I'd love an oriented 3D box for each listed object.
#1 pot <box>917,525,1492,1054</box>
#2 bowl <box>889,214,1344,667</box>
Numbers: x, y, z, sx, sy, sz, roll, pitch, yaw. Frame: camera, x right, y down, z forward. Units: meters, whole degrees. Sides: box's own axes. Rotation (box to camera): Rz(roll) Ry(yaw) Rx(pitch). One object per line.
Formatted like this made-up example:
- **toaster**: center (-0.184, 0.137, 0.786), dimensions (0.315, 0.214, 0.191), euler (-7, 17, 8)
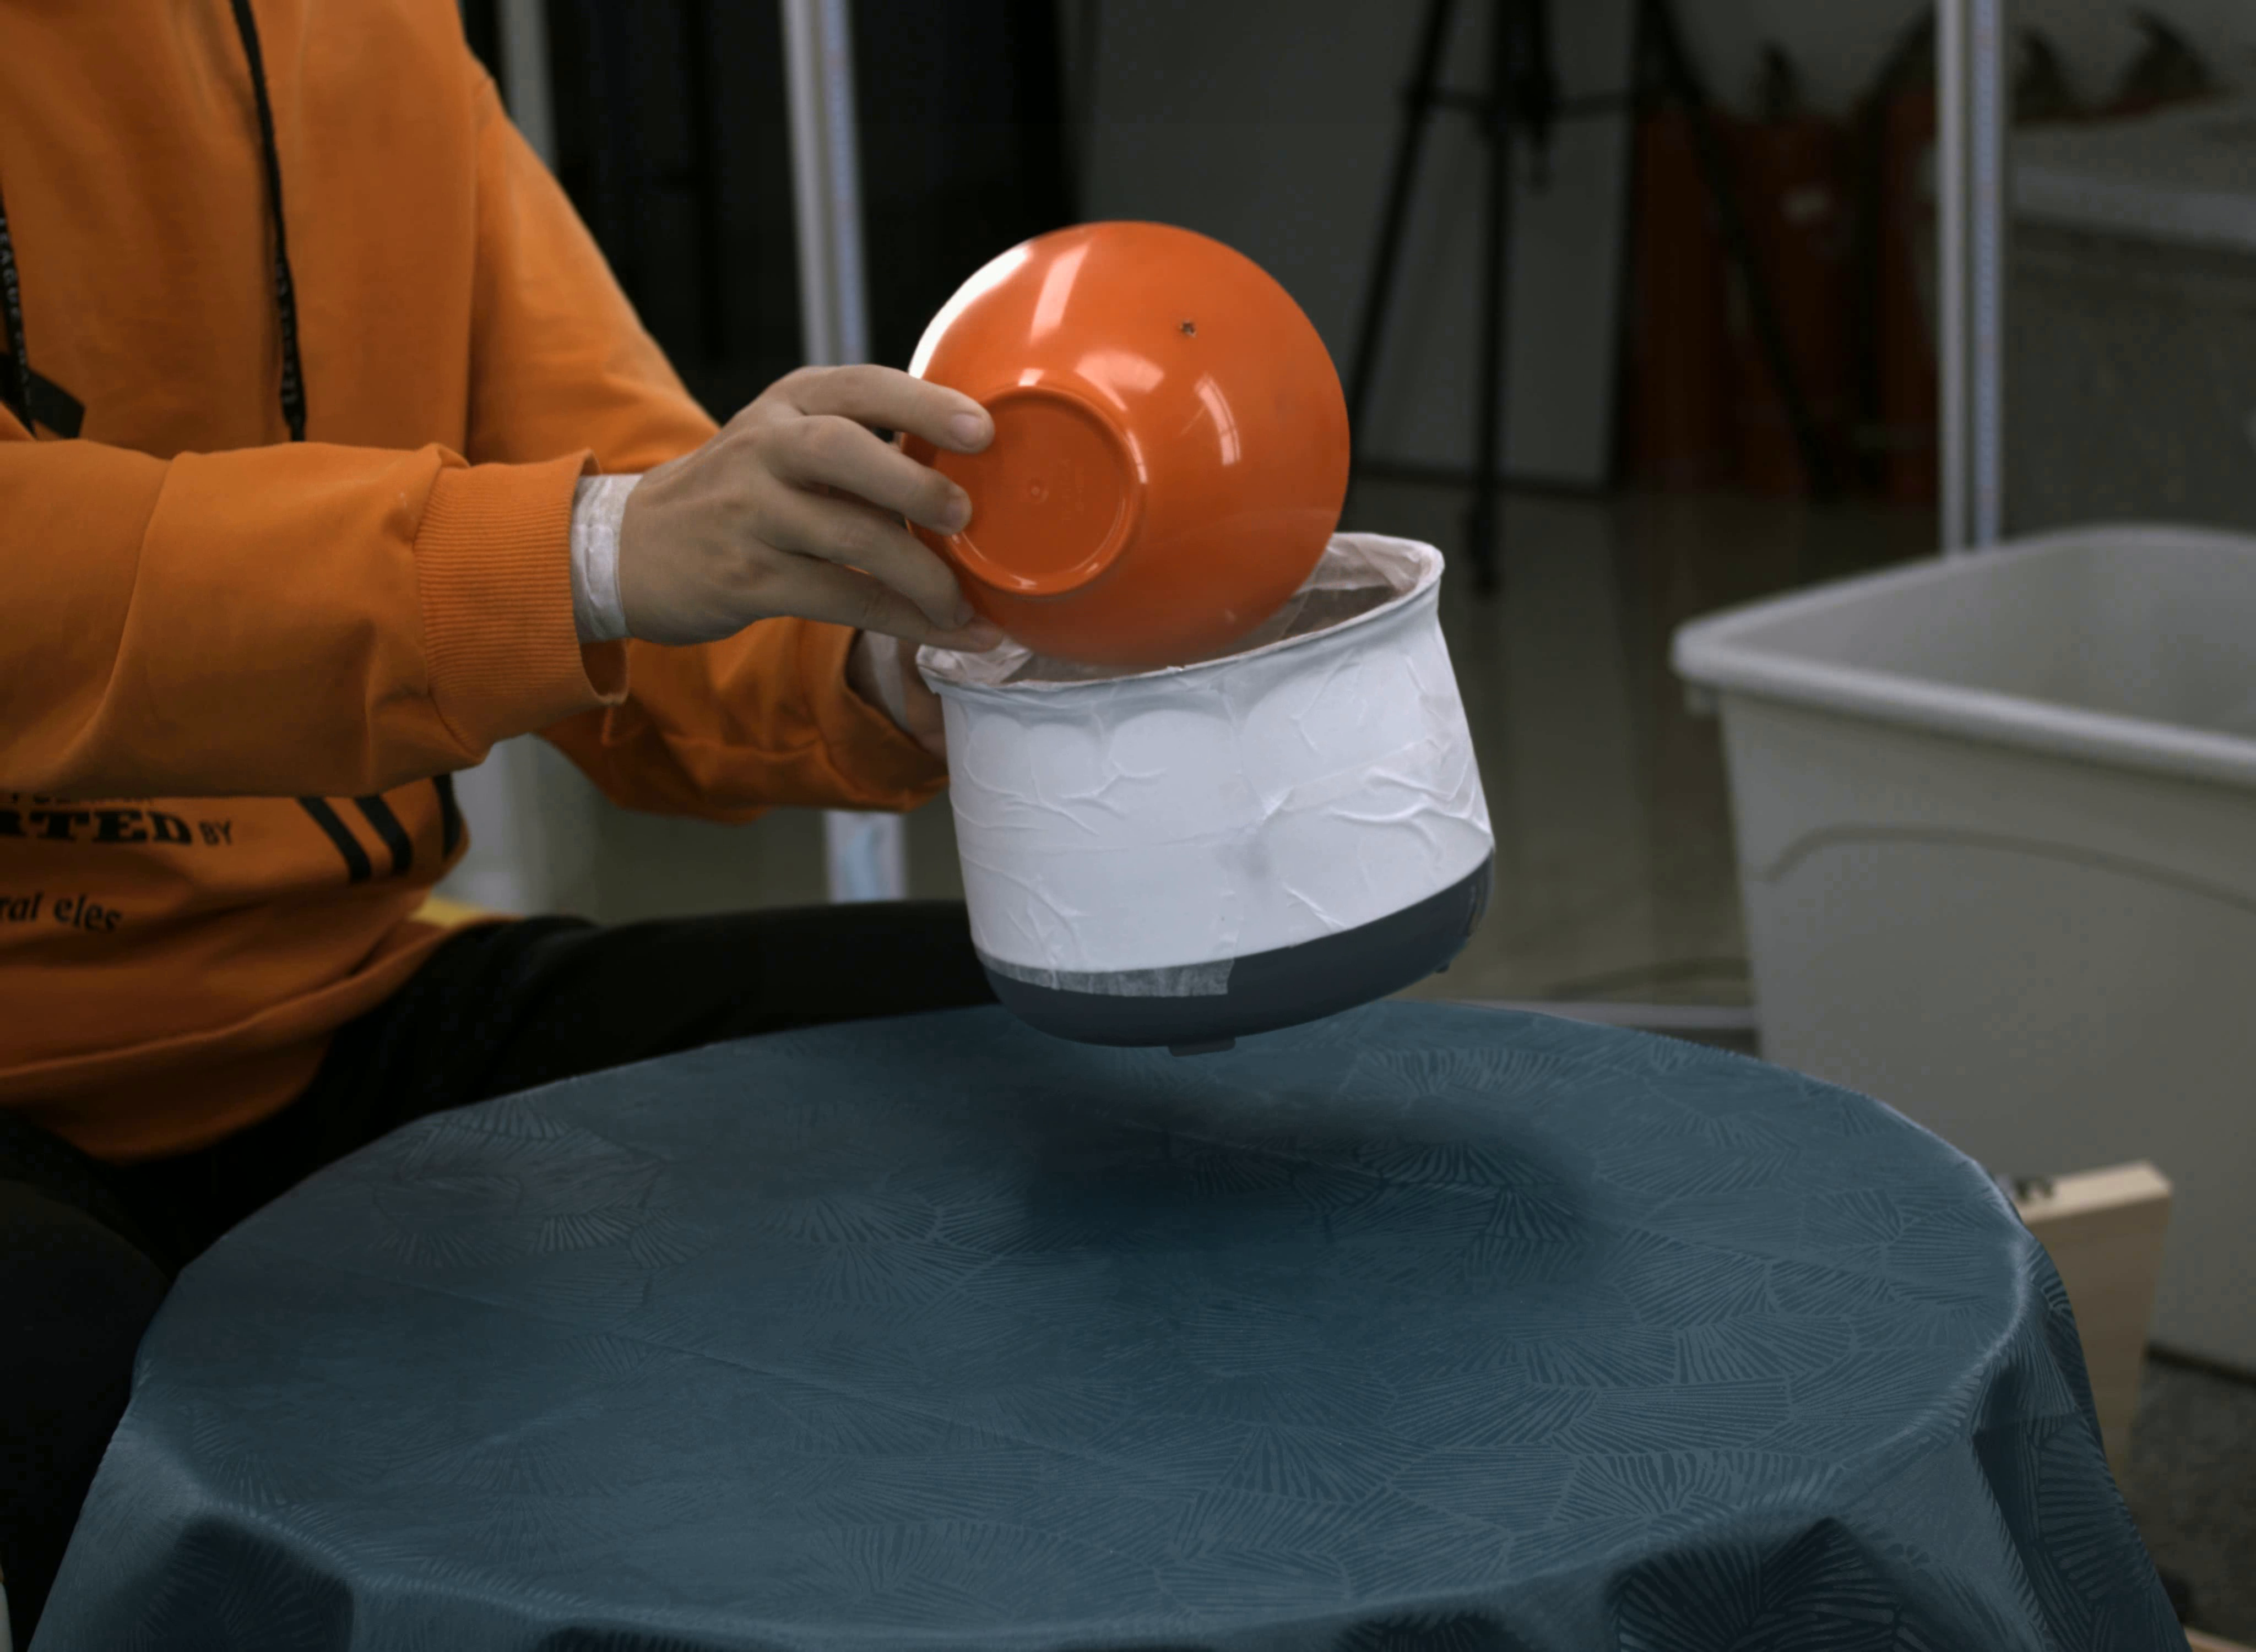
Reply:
- **pot**: center (0.013, -0.016, 1.795), dimensions (0.175, 0.138, 0.236), euler (-18, 15, -28)
- **bowl**: center (-0.010, -0.116, 1.710), dimensions (0.147, 0.150, 0.104), euler (-1, 9, 11)
